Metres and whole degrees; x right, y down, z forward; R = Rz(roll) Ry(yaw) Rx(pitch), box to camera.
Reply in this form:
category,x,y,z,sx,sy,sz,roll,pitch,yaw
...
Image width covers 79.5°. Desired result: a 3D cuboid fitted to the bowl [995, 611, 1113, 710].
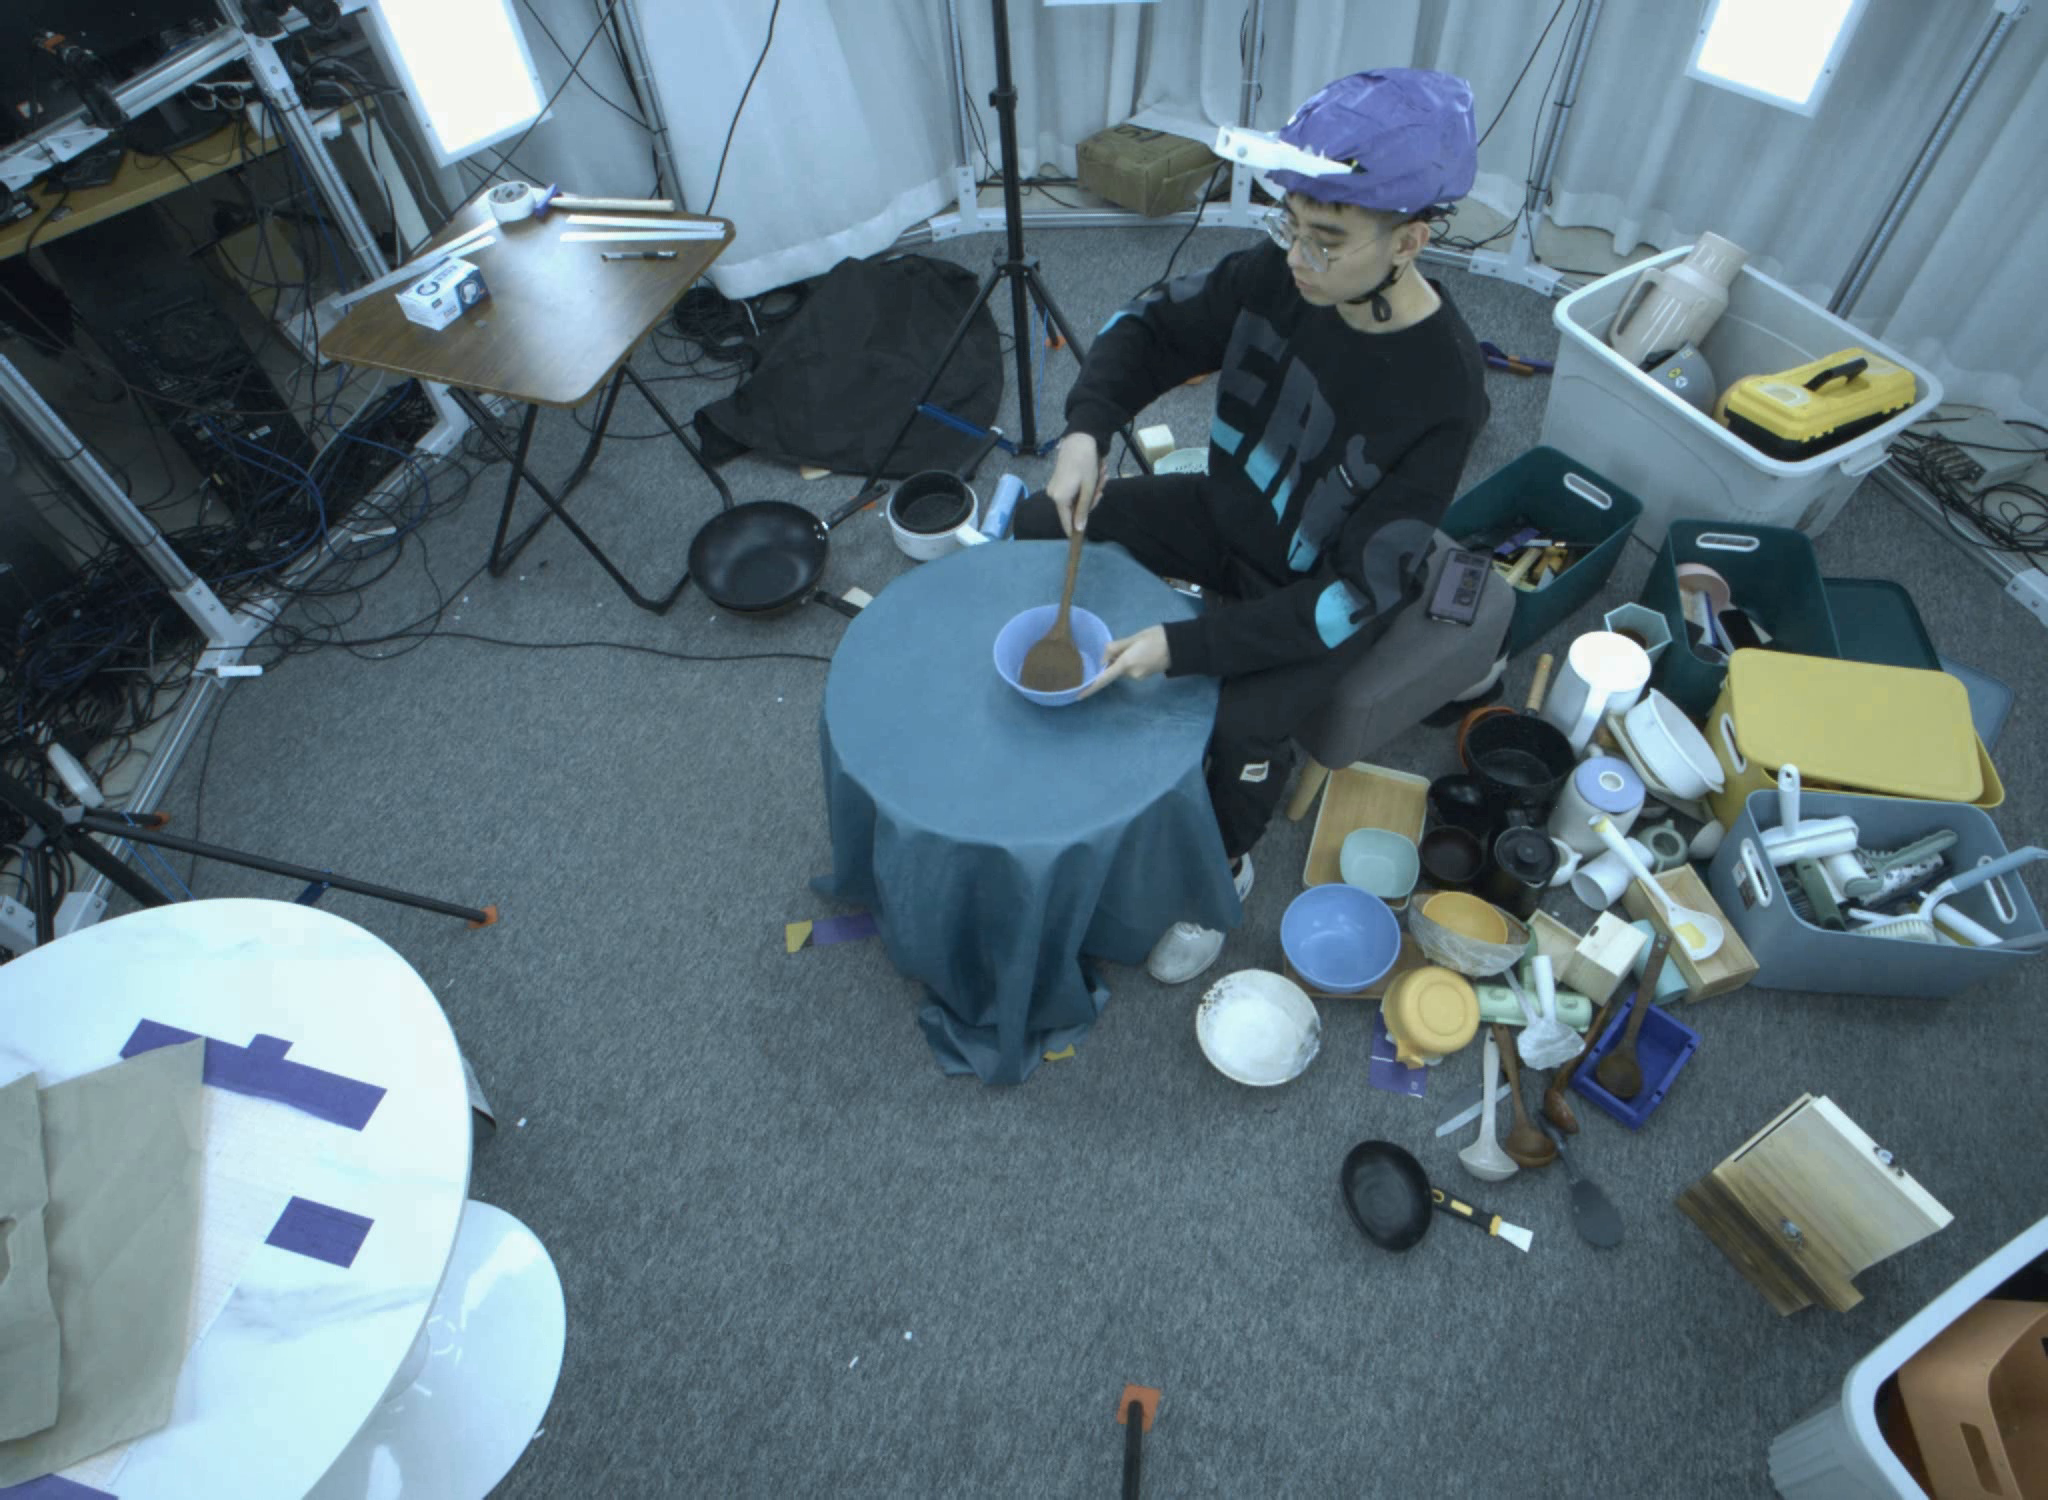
category,x,y,z,sx,sy,sz,roll,pitch,yaw
bowl,0.048,-0.124,1.841,0.175,0.071,0.174,-4,52,6

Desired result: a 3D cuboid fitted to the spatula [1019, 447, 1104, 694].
category,x,y,z,sx,sy,sz,roll,pitch,yaw
spatula,0.070,-0.259,1.816,0.095,0.016,0.386,11,97,7
